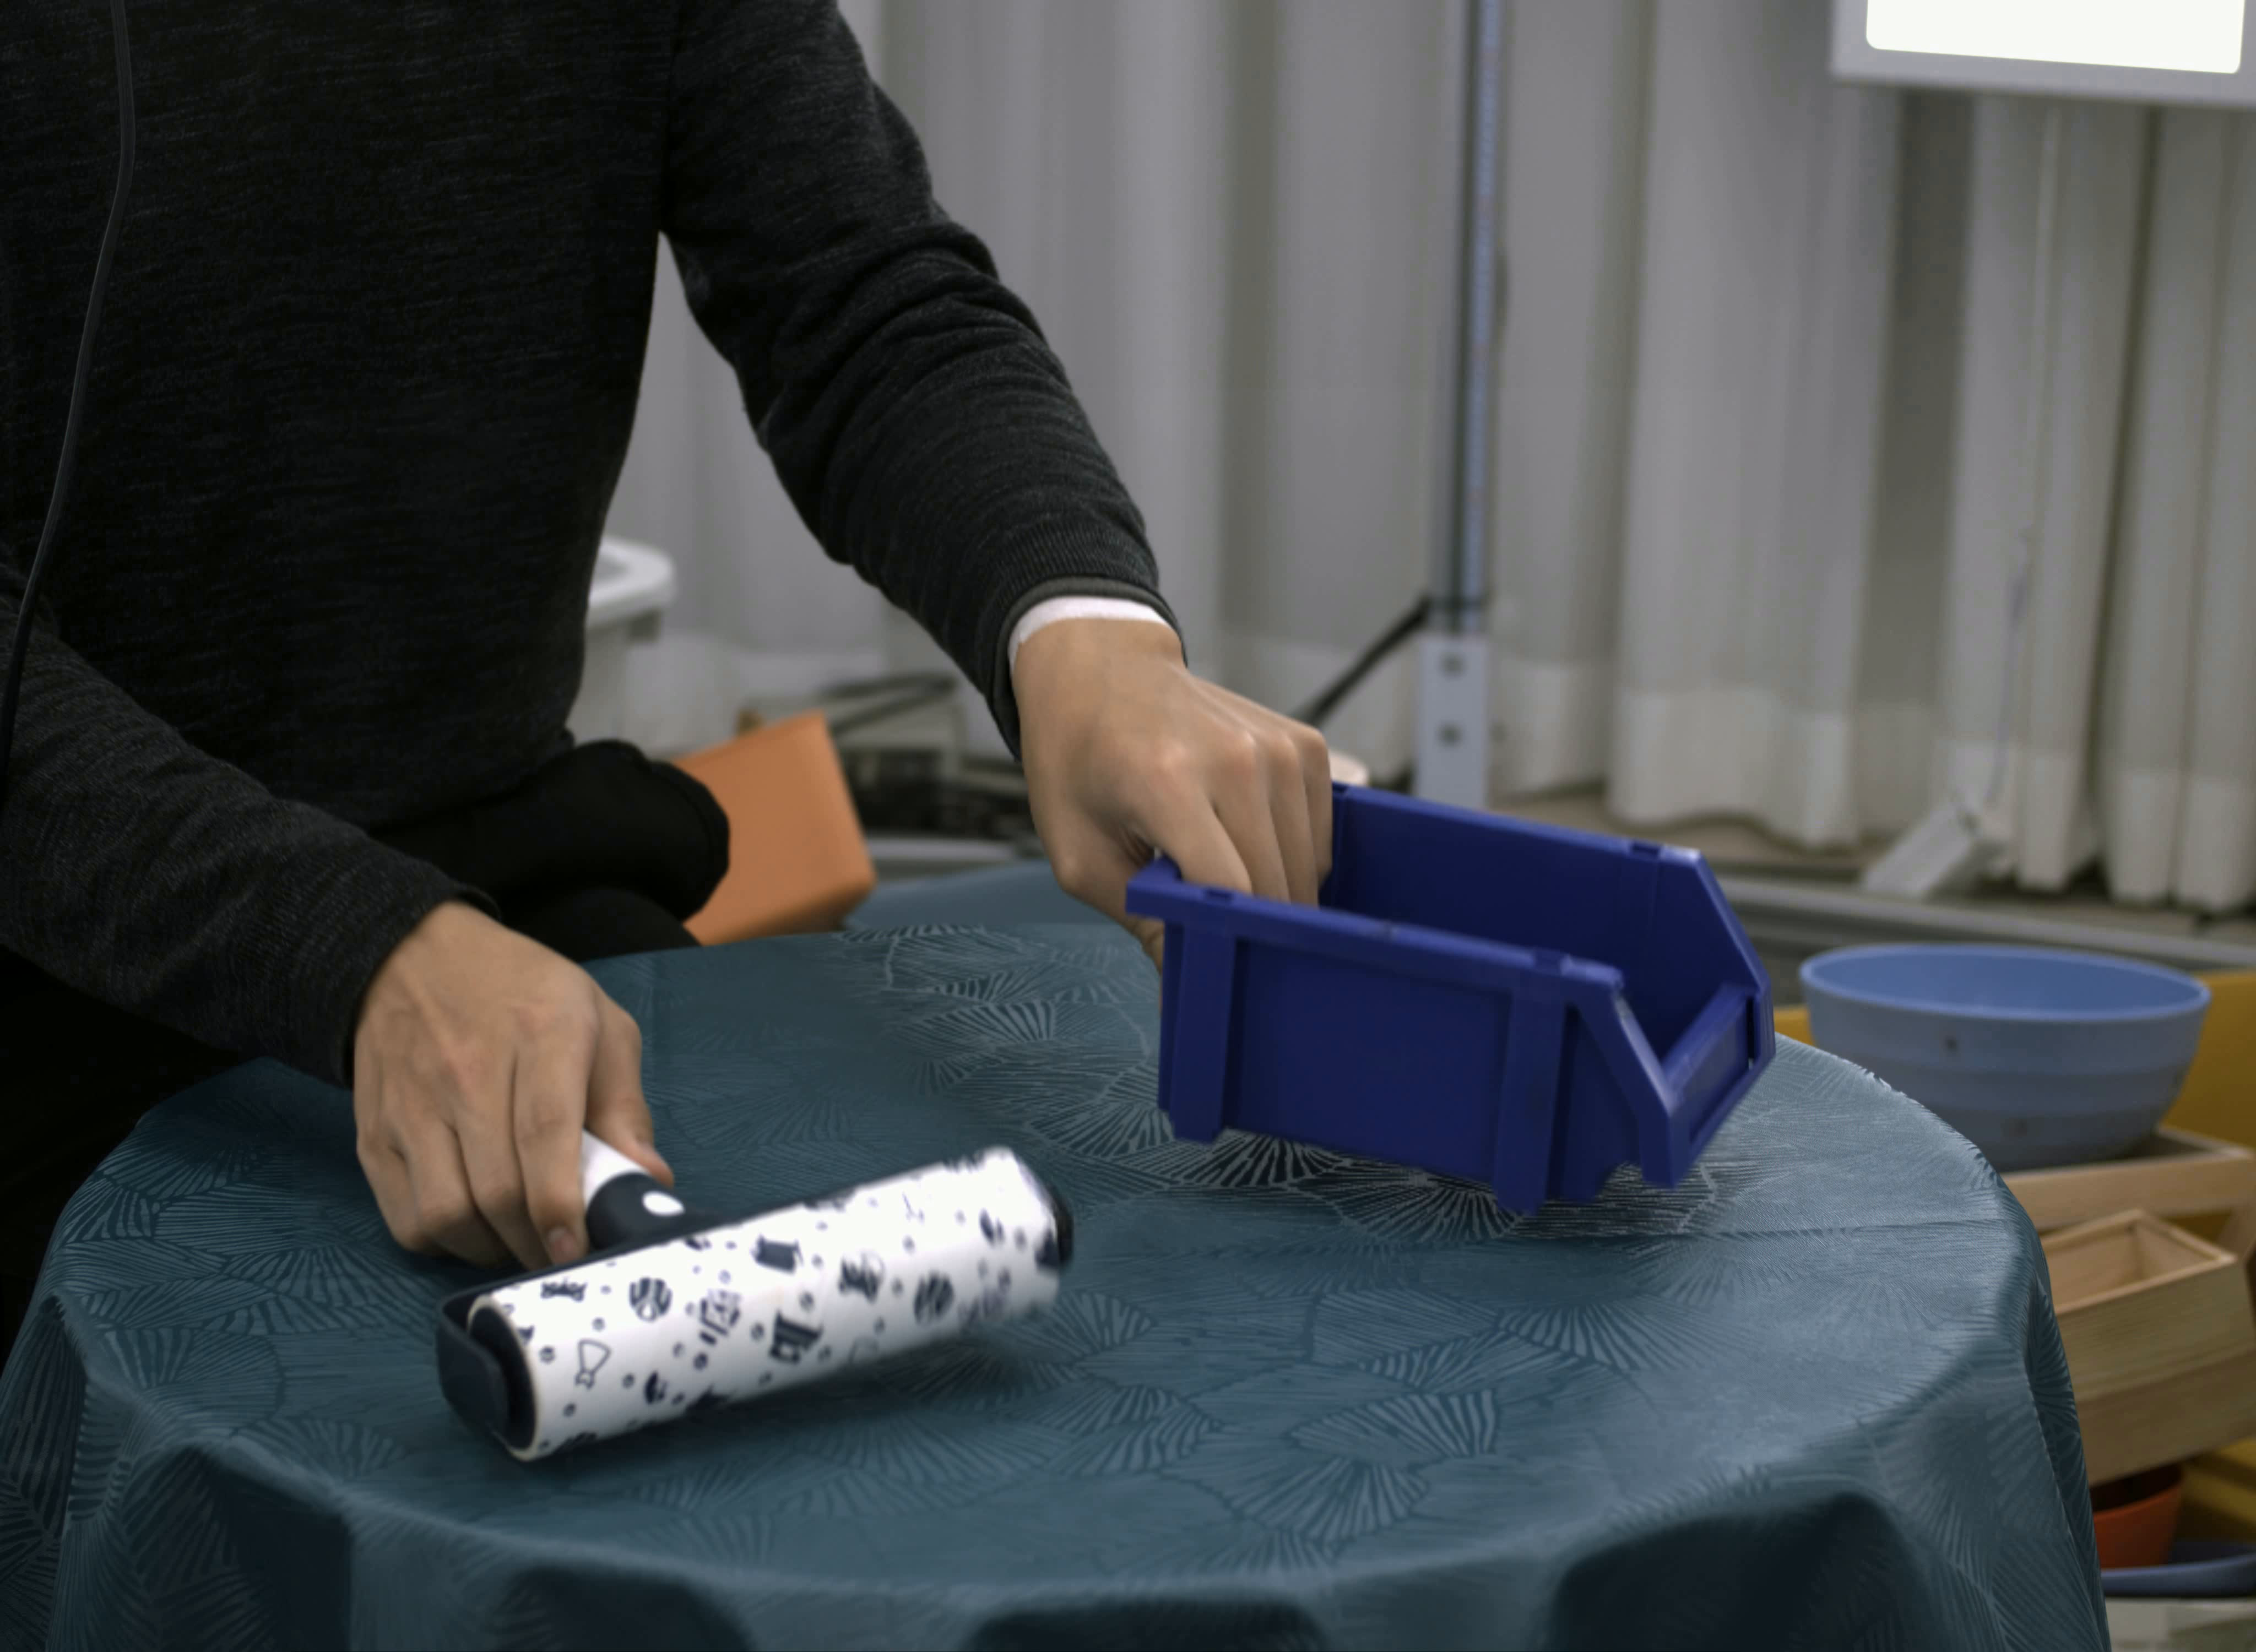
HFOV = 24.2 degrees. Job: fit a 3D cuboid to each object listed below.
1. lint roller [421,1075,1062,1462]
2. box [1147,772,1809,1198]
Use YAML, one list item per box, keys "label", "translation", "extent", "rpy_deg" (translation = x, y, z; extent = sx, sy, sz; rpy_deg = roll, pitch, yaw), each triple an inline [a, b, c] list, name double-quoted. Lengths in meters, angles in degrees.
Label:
- label: "lint roller"
  translation: [-0.151, 0.105, 1.518]
  extent: [0.177, 0.051, 0.244]
  rpy_deg: [-18, 21, -27]
- label: "box"
  translation: [0.110, 0.049, 1.624]
  extent: [0.177, 0.082, 0.124]
  rpy_deg: [9, 20, 20]
